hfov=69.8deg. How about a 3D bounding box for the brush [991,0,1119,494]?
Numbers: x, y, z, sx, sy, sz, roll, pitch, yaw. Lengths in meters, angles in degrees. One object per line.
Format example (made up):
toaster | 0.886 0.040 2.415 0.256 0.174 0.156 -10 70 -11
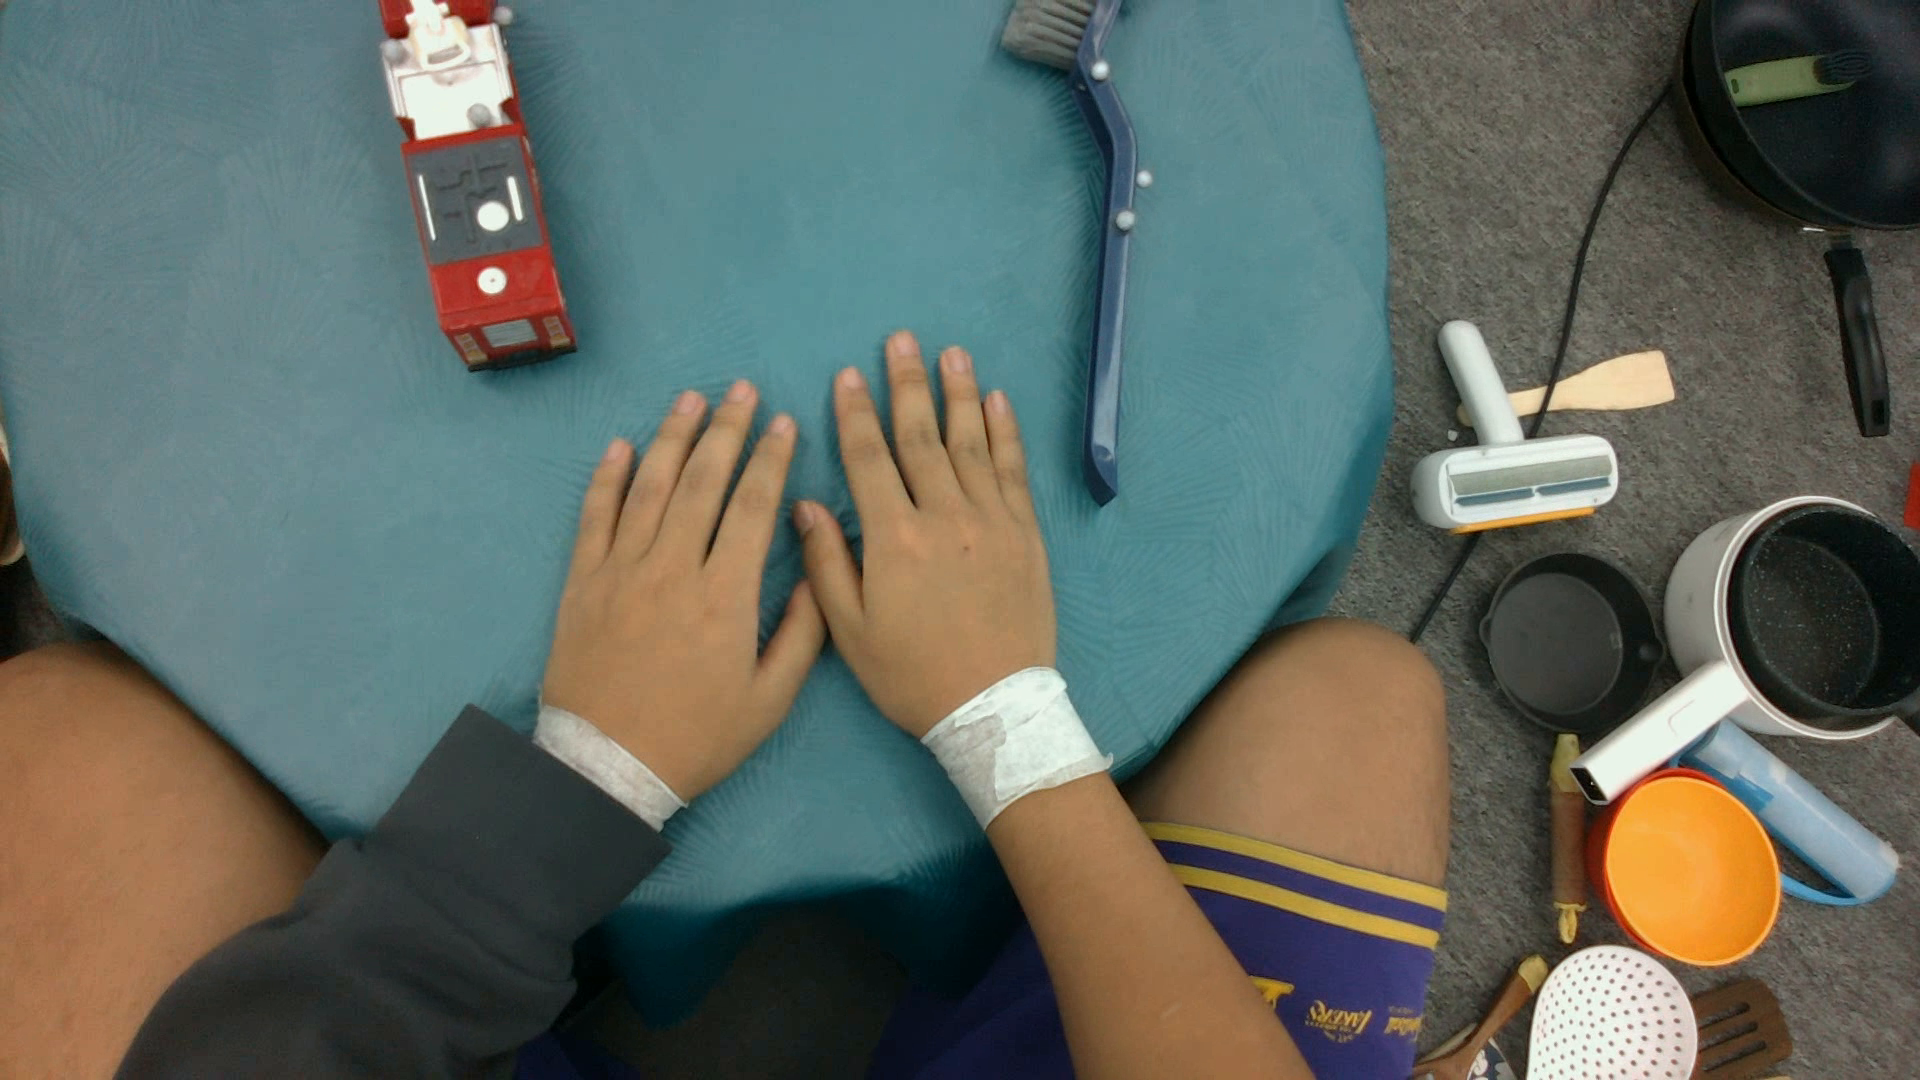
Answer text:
brush | 0.067 -0.156 0.609 0.096 0.033 0.273 -2 81 -10

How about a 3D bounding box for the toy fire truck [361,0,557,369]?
toy fire truck | -0.204 -0.155 0.553 0.054 0.070 0.168 -15 85 -11
